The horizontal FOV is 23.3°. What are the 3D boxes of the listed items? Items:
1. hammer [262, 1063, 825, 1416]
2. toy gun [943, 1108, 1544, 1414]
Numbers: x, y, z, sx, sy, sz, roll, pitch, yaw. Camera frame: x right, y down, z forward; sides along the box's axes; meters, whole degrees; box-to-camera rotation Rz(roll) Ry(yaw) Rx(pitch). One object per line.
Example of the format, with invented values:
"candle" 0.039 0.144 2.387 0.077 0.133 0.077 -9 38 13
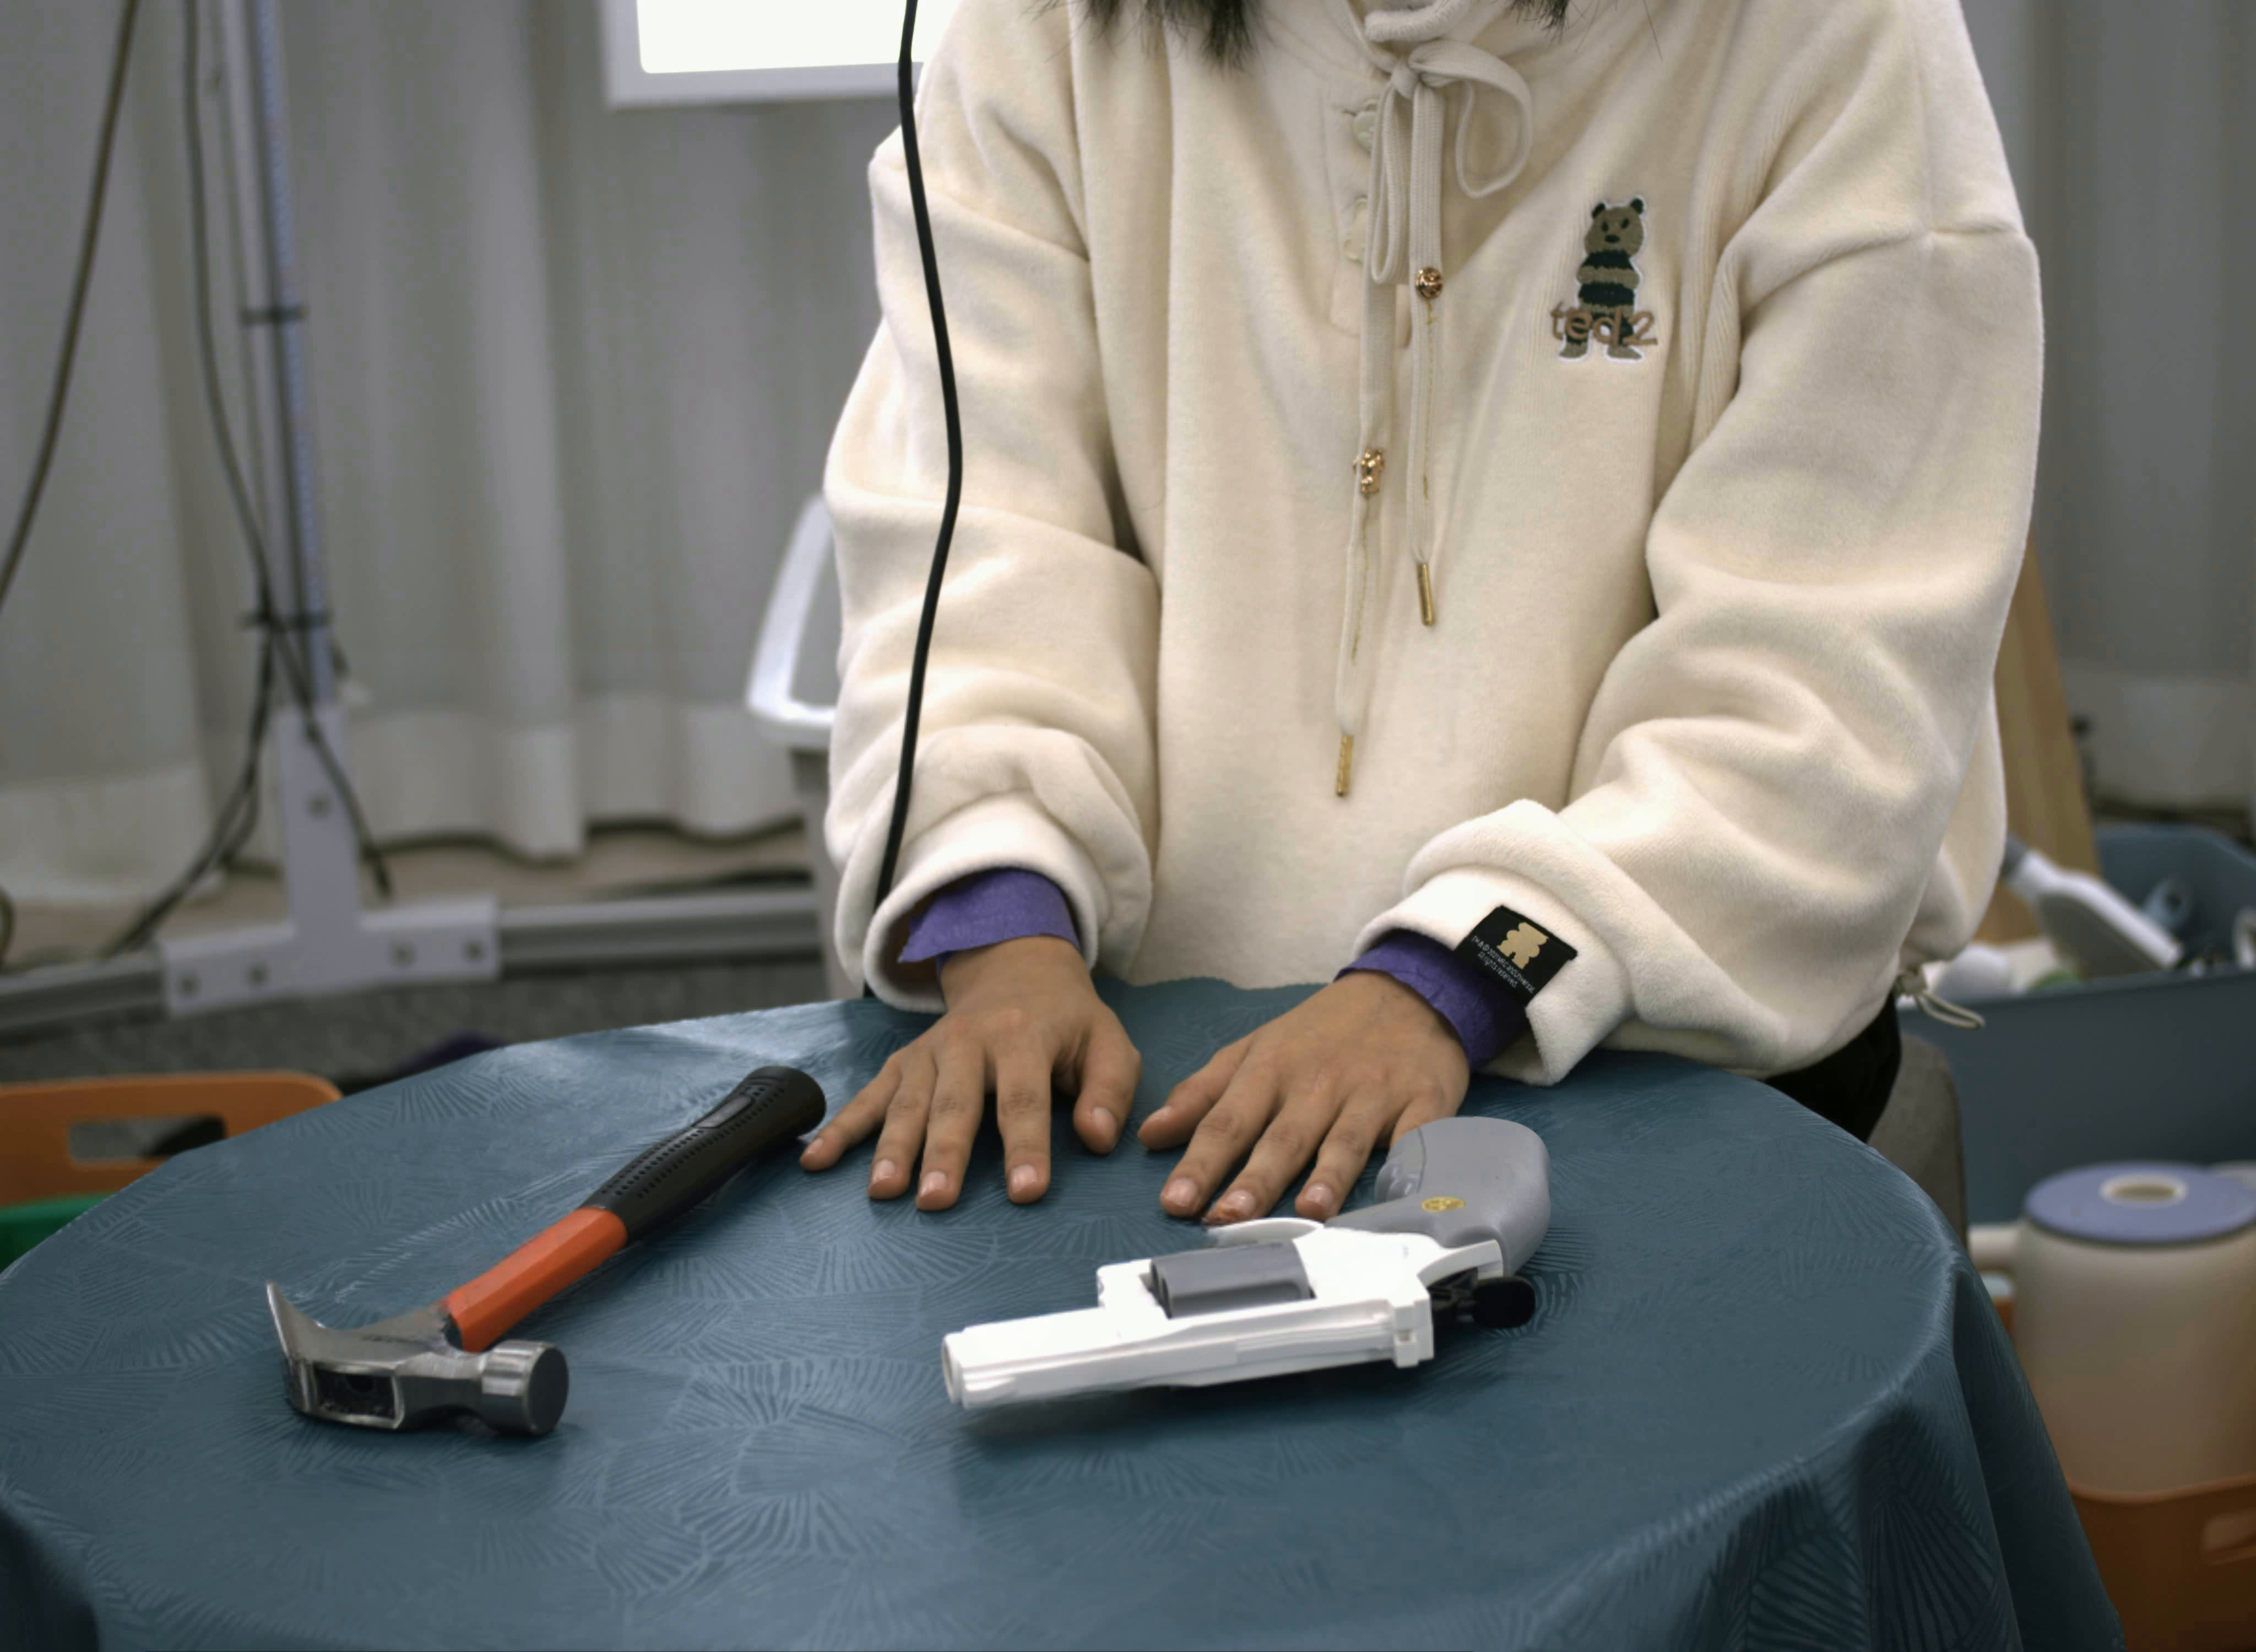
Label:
"hammer" -0.166 0.122 1.663 0.110 0.026 0.278 -6 12 25
"toy gun" 0.039 0.128 1.581 0.208 0.038 0.143 -7 17 -13
